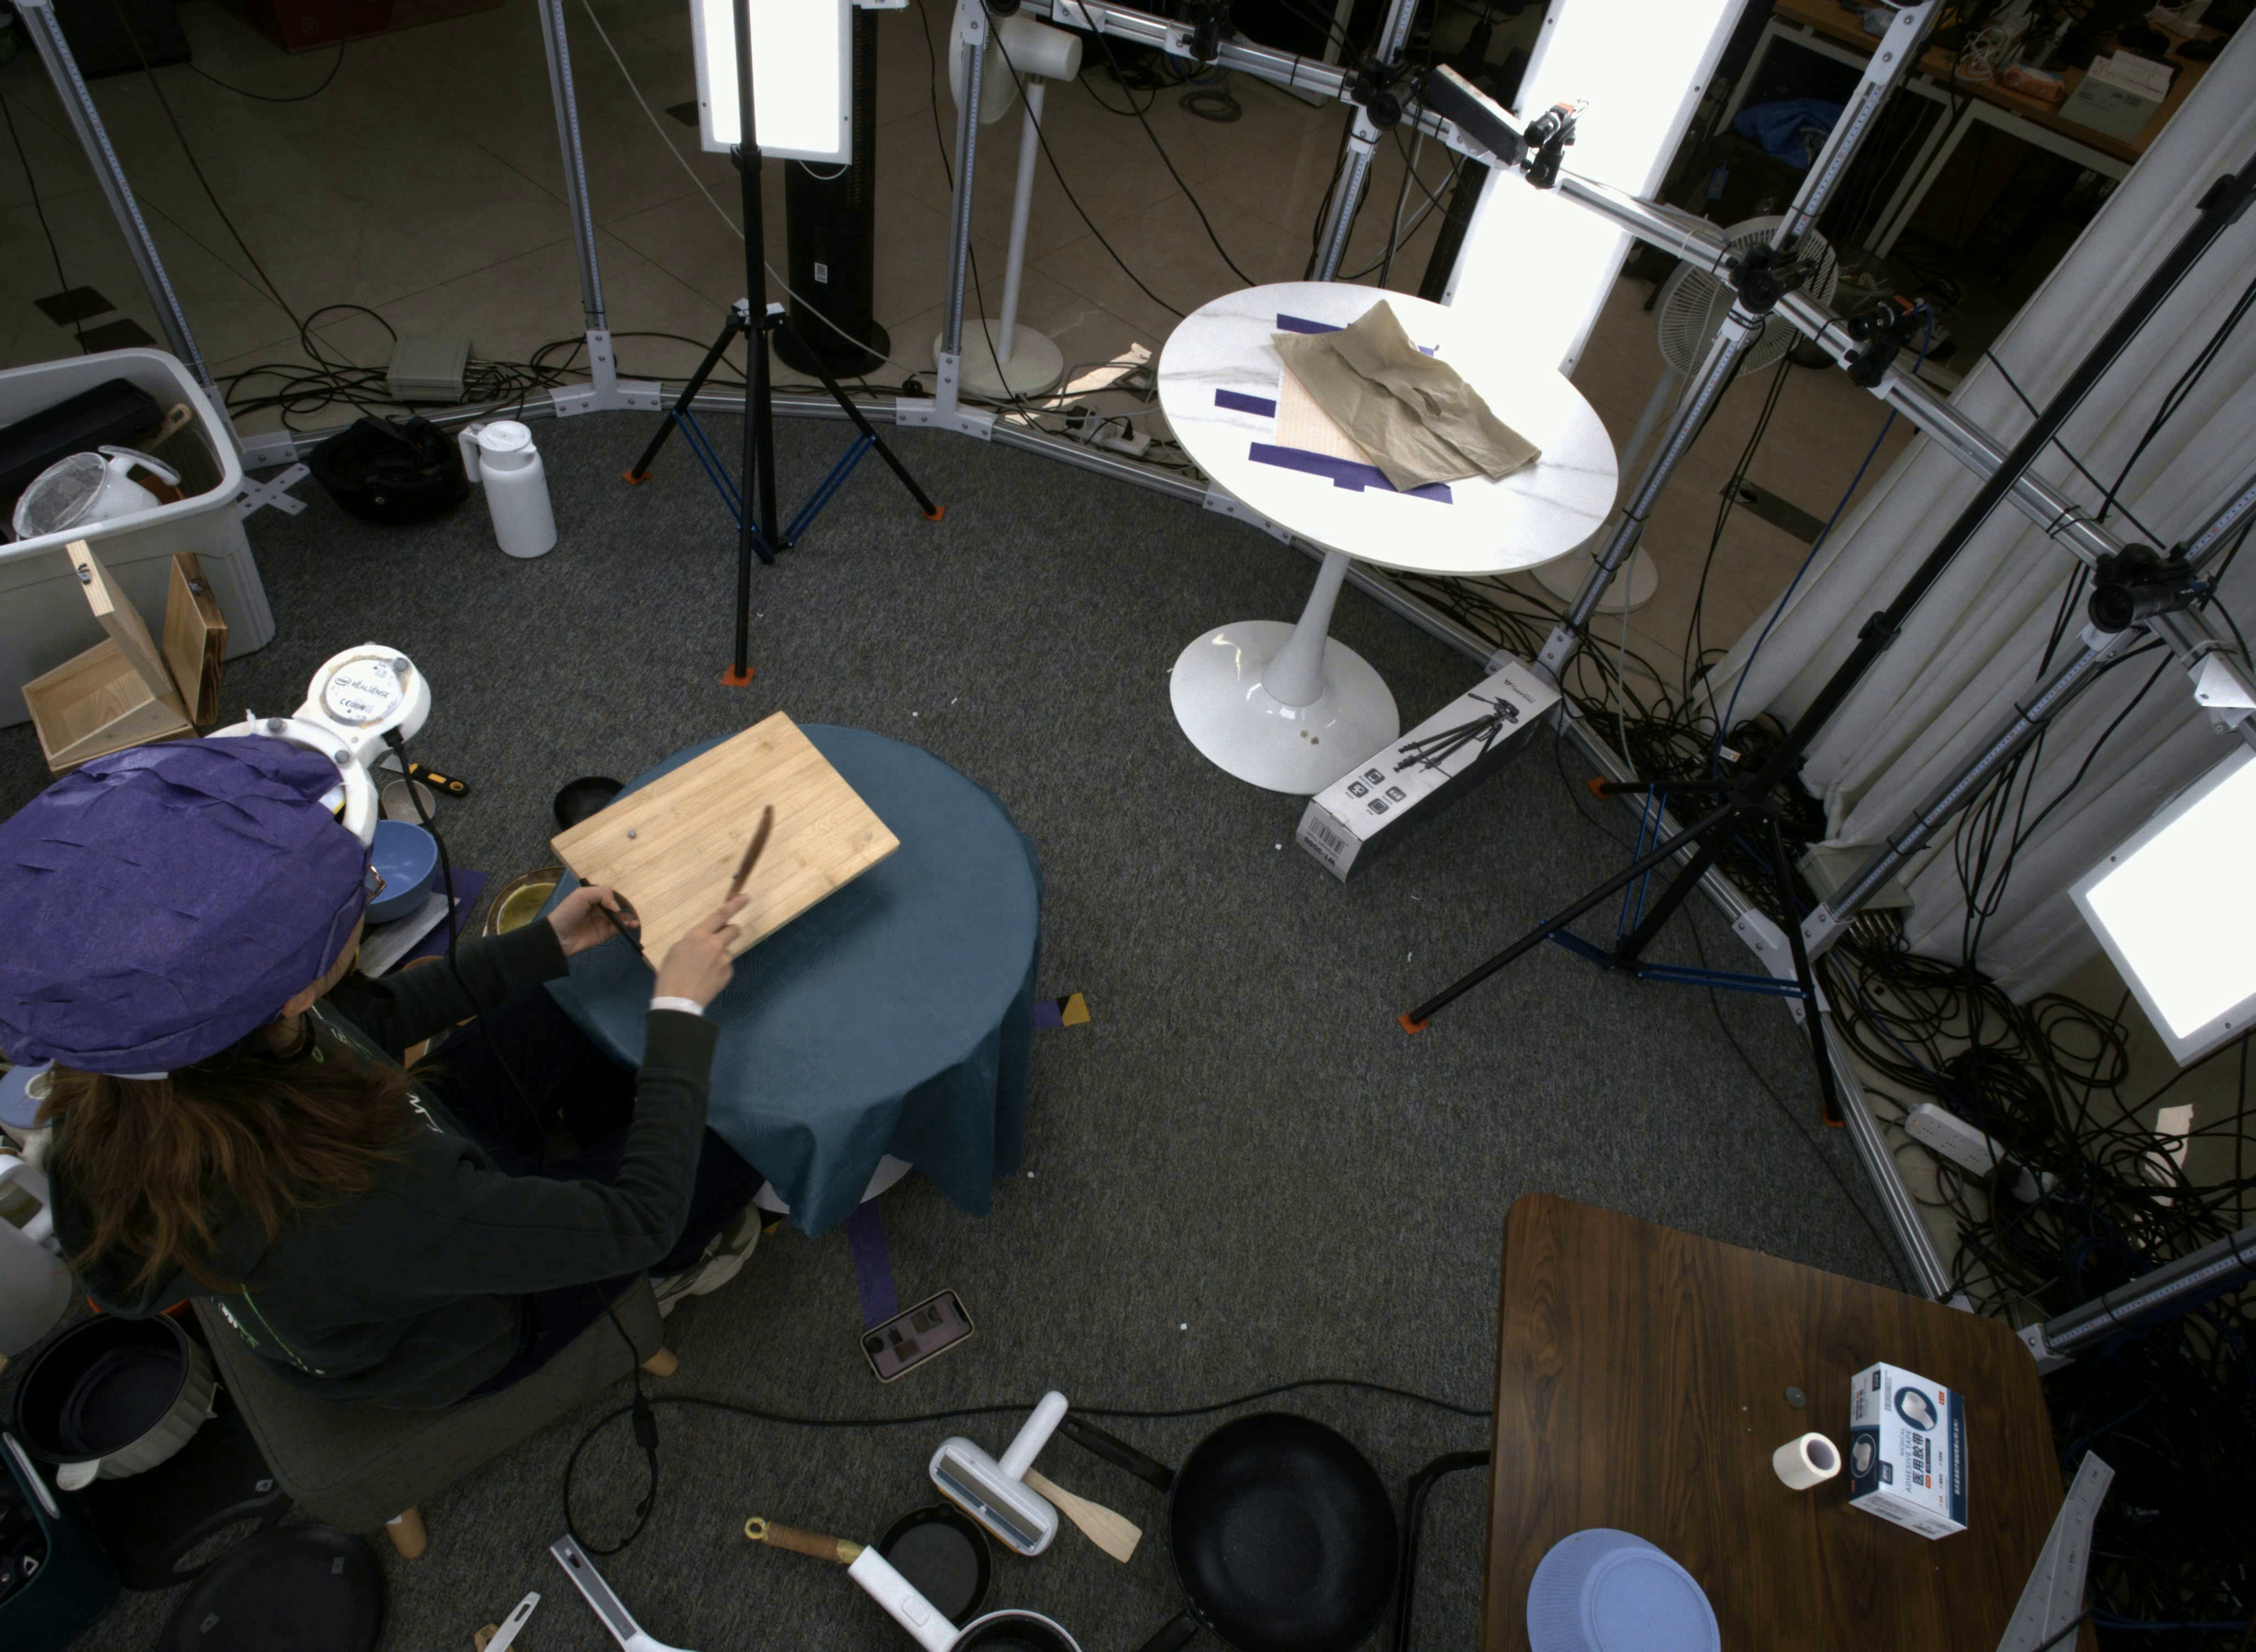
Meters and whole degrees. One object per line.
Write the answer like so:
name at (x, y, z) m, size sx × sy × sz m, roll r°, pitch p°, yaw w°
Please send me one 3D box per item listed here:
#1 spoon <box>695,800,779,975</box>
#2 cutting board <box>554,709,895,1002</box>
spoon at (-0.428, 0.064, 1.426) m, size 0.017 × 0.075 × 0.214 m, roll 27°, pitch 59°, yaw -17°
cutting board at (-0.487, 0.024, 1.569) m, size 0.249 × 0.024 × 0.349 m, roll 47°, pitch 54°, yaw 6°
